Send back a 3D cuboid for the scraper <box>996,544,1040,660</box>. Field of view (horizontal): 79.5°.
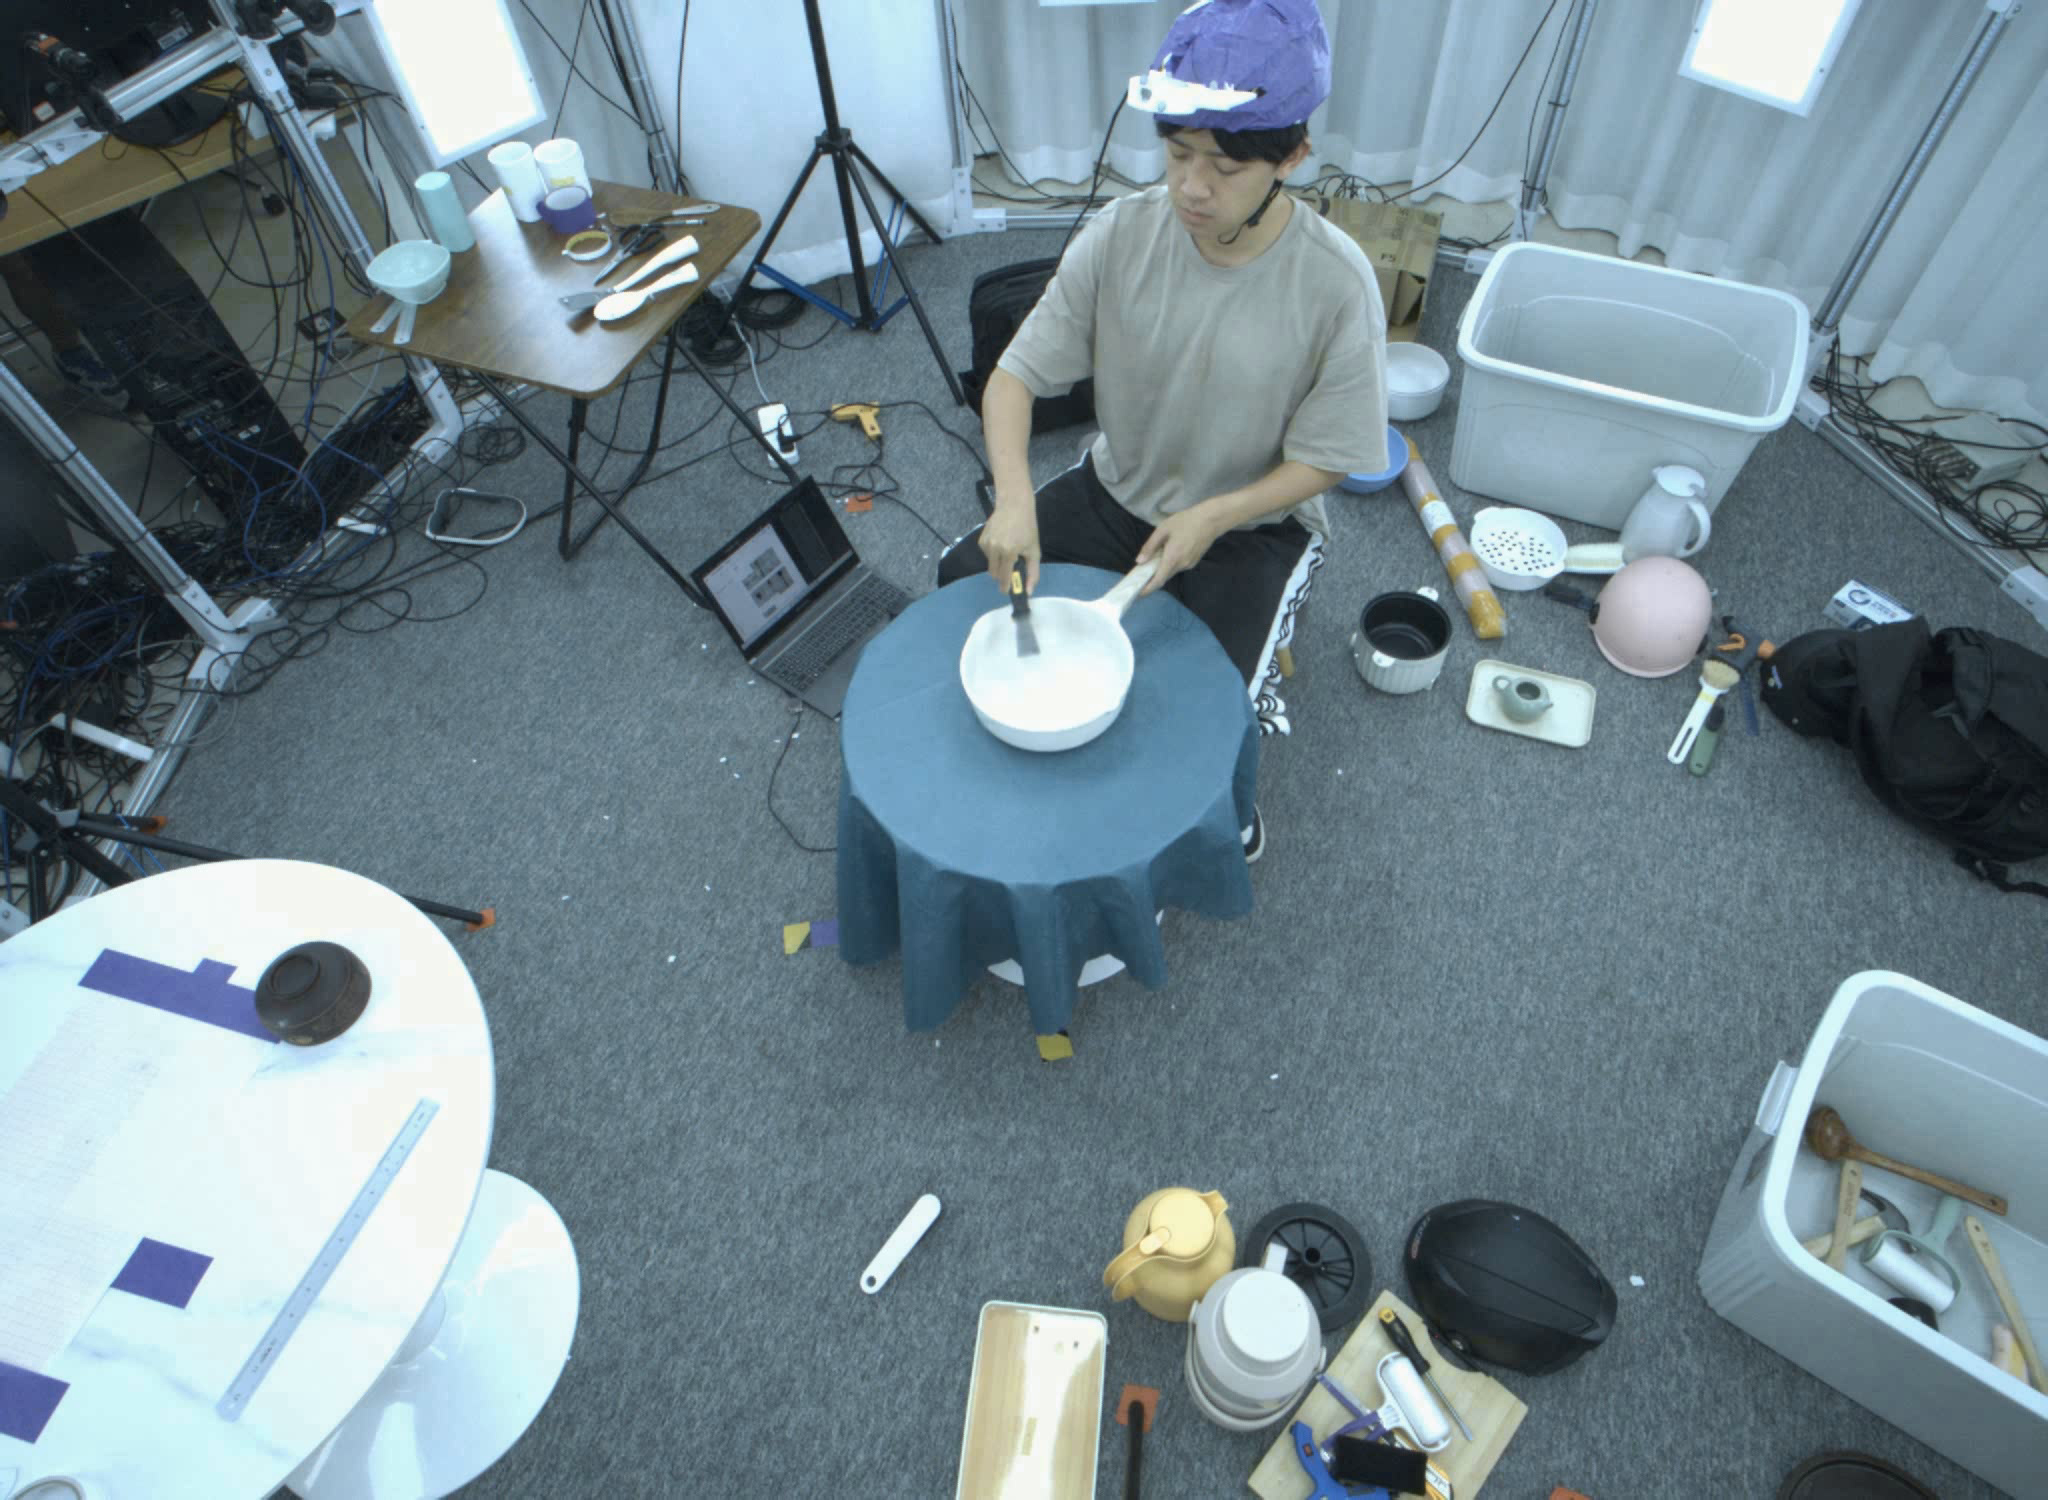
[{"bbox_3d":[-0.012,-0.216,1.792,0.038,0.015,0.171,-11,99,9],"label":"scraper"}]

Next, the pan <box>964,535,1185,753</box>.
[{"bbox_3d":[0.102,-0.163,1.838,0.258,0.103,0.437,34,63,27],"label":"pan"}]
